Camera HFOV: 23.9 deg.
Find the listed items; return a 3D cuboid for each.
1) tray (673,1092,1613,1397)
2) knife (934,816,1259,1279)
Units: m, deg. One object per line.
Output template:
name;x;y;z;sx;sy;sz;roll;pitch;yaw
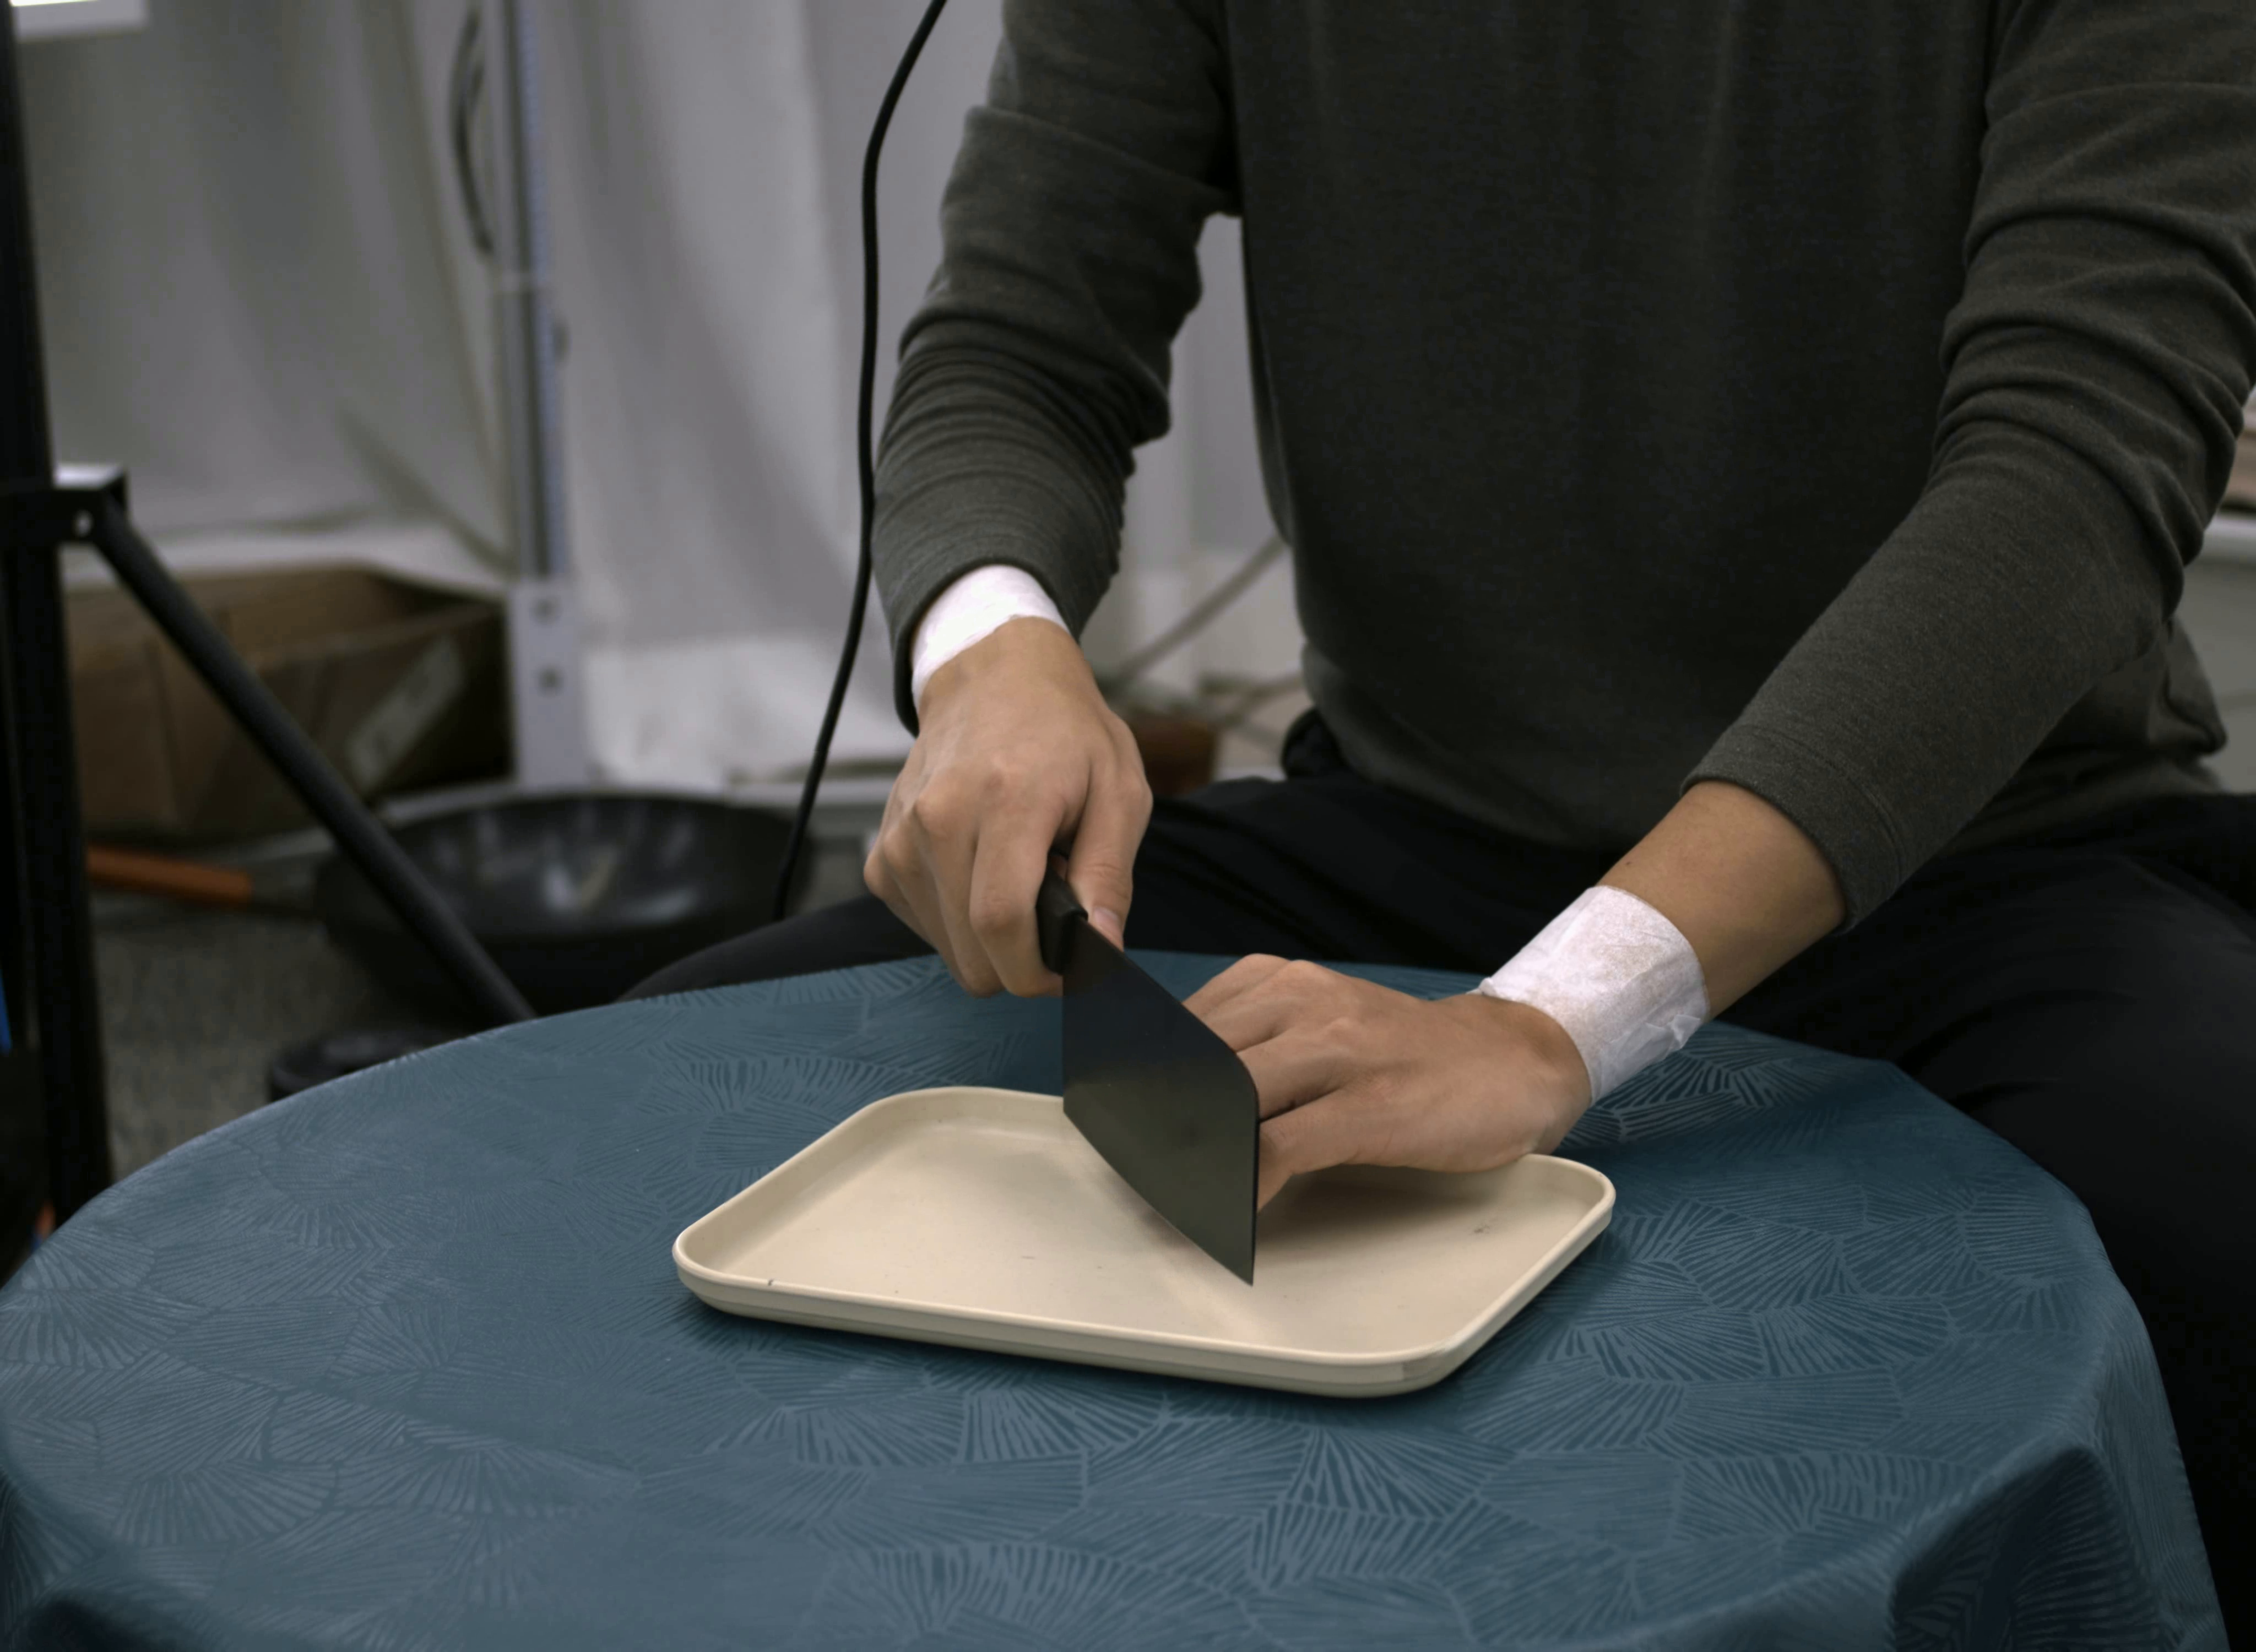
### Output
tray;0.006;0.117;1.497;0.243;0.017;0.168;5;17;26
knife;-0.010;0.057;1.553;0.020;0.081;0.307;-2;18;-17
